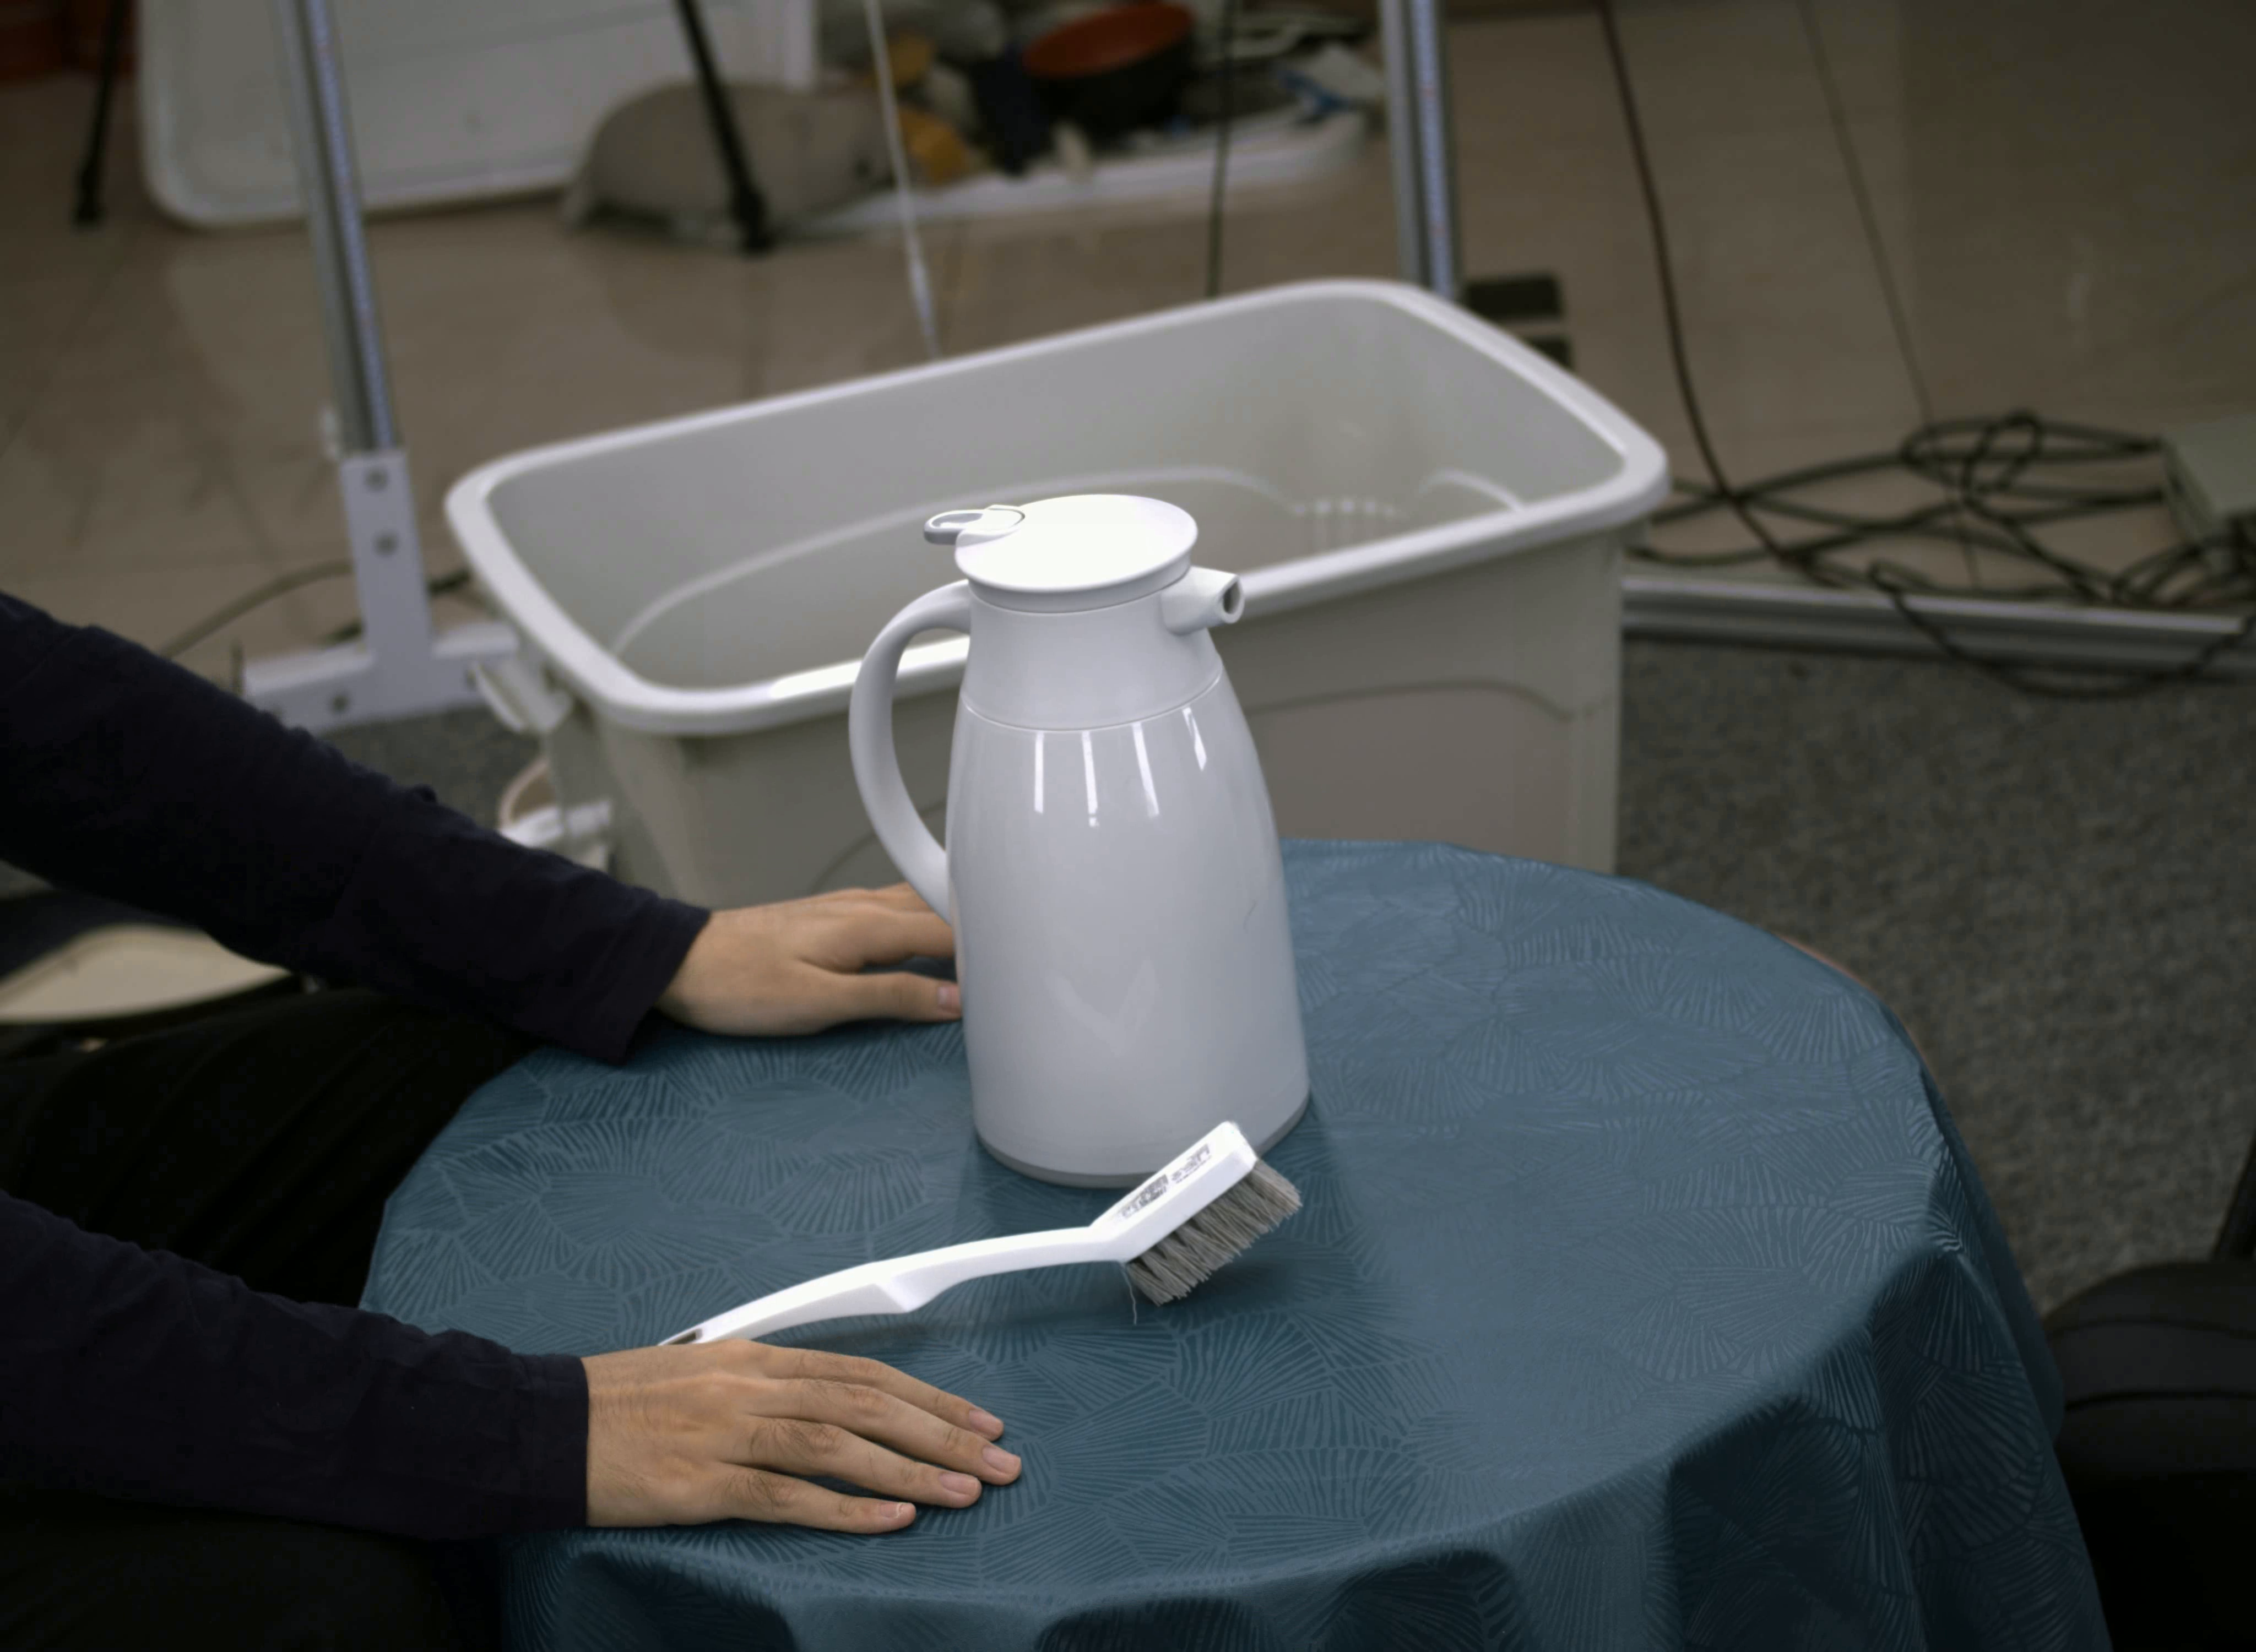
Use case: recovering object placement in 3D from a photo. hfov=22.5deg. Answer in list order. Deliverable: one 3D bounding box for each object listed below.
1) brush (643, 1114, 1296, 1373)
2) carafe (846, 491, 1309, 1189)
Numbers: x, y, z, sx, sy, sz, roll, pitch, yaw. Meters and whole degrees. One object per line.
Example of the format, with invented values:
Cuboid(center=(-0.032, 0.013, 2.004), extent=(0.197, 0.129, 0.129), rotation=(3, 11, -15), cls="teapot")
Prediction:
Cuboid(center=(-0.056, 0.168, 2.061), extent=(0.243, 0.051, 0.034), rotation=(-21, 21, -4), cls="brush")
Cuboid(center=(-0.025, -0.002, 2.159), extent=(0.167, 0.252, 0.131), rotation=(4, 28, 22), cls="carafe")
